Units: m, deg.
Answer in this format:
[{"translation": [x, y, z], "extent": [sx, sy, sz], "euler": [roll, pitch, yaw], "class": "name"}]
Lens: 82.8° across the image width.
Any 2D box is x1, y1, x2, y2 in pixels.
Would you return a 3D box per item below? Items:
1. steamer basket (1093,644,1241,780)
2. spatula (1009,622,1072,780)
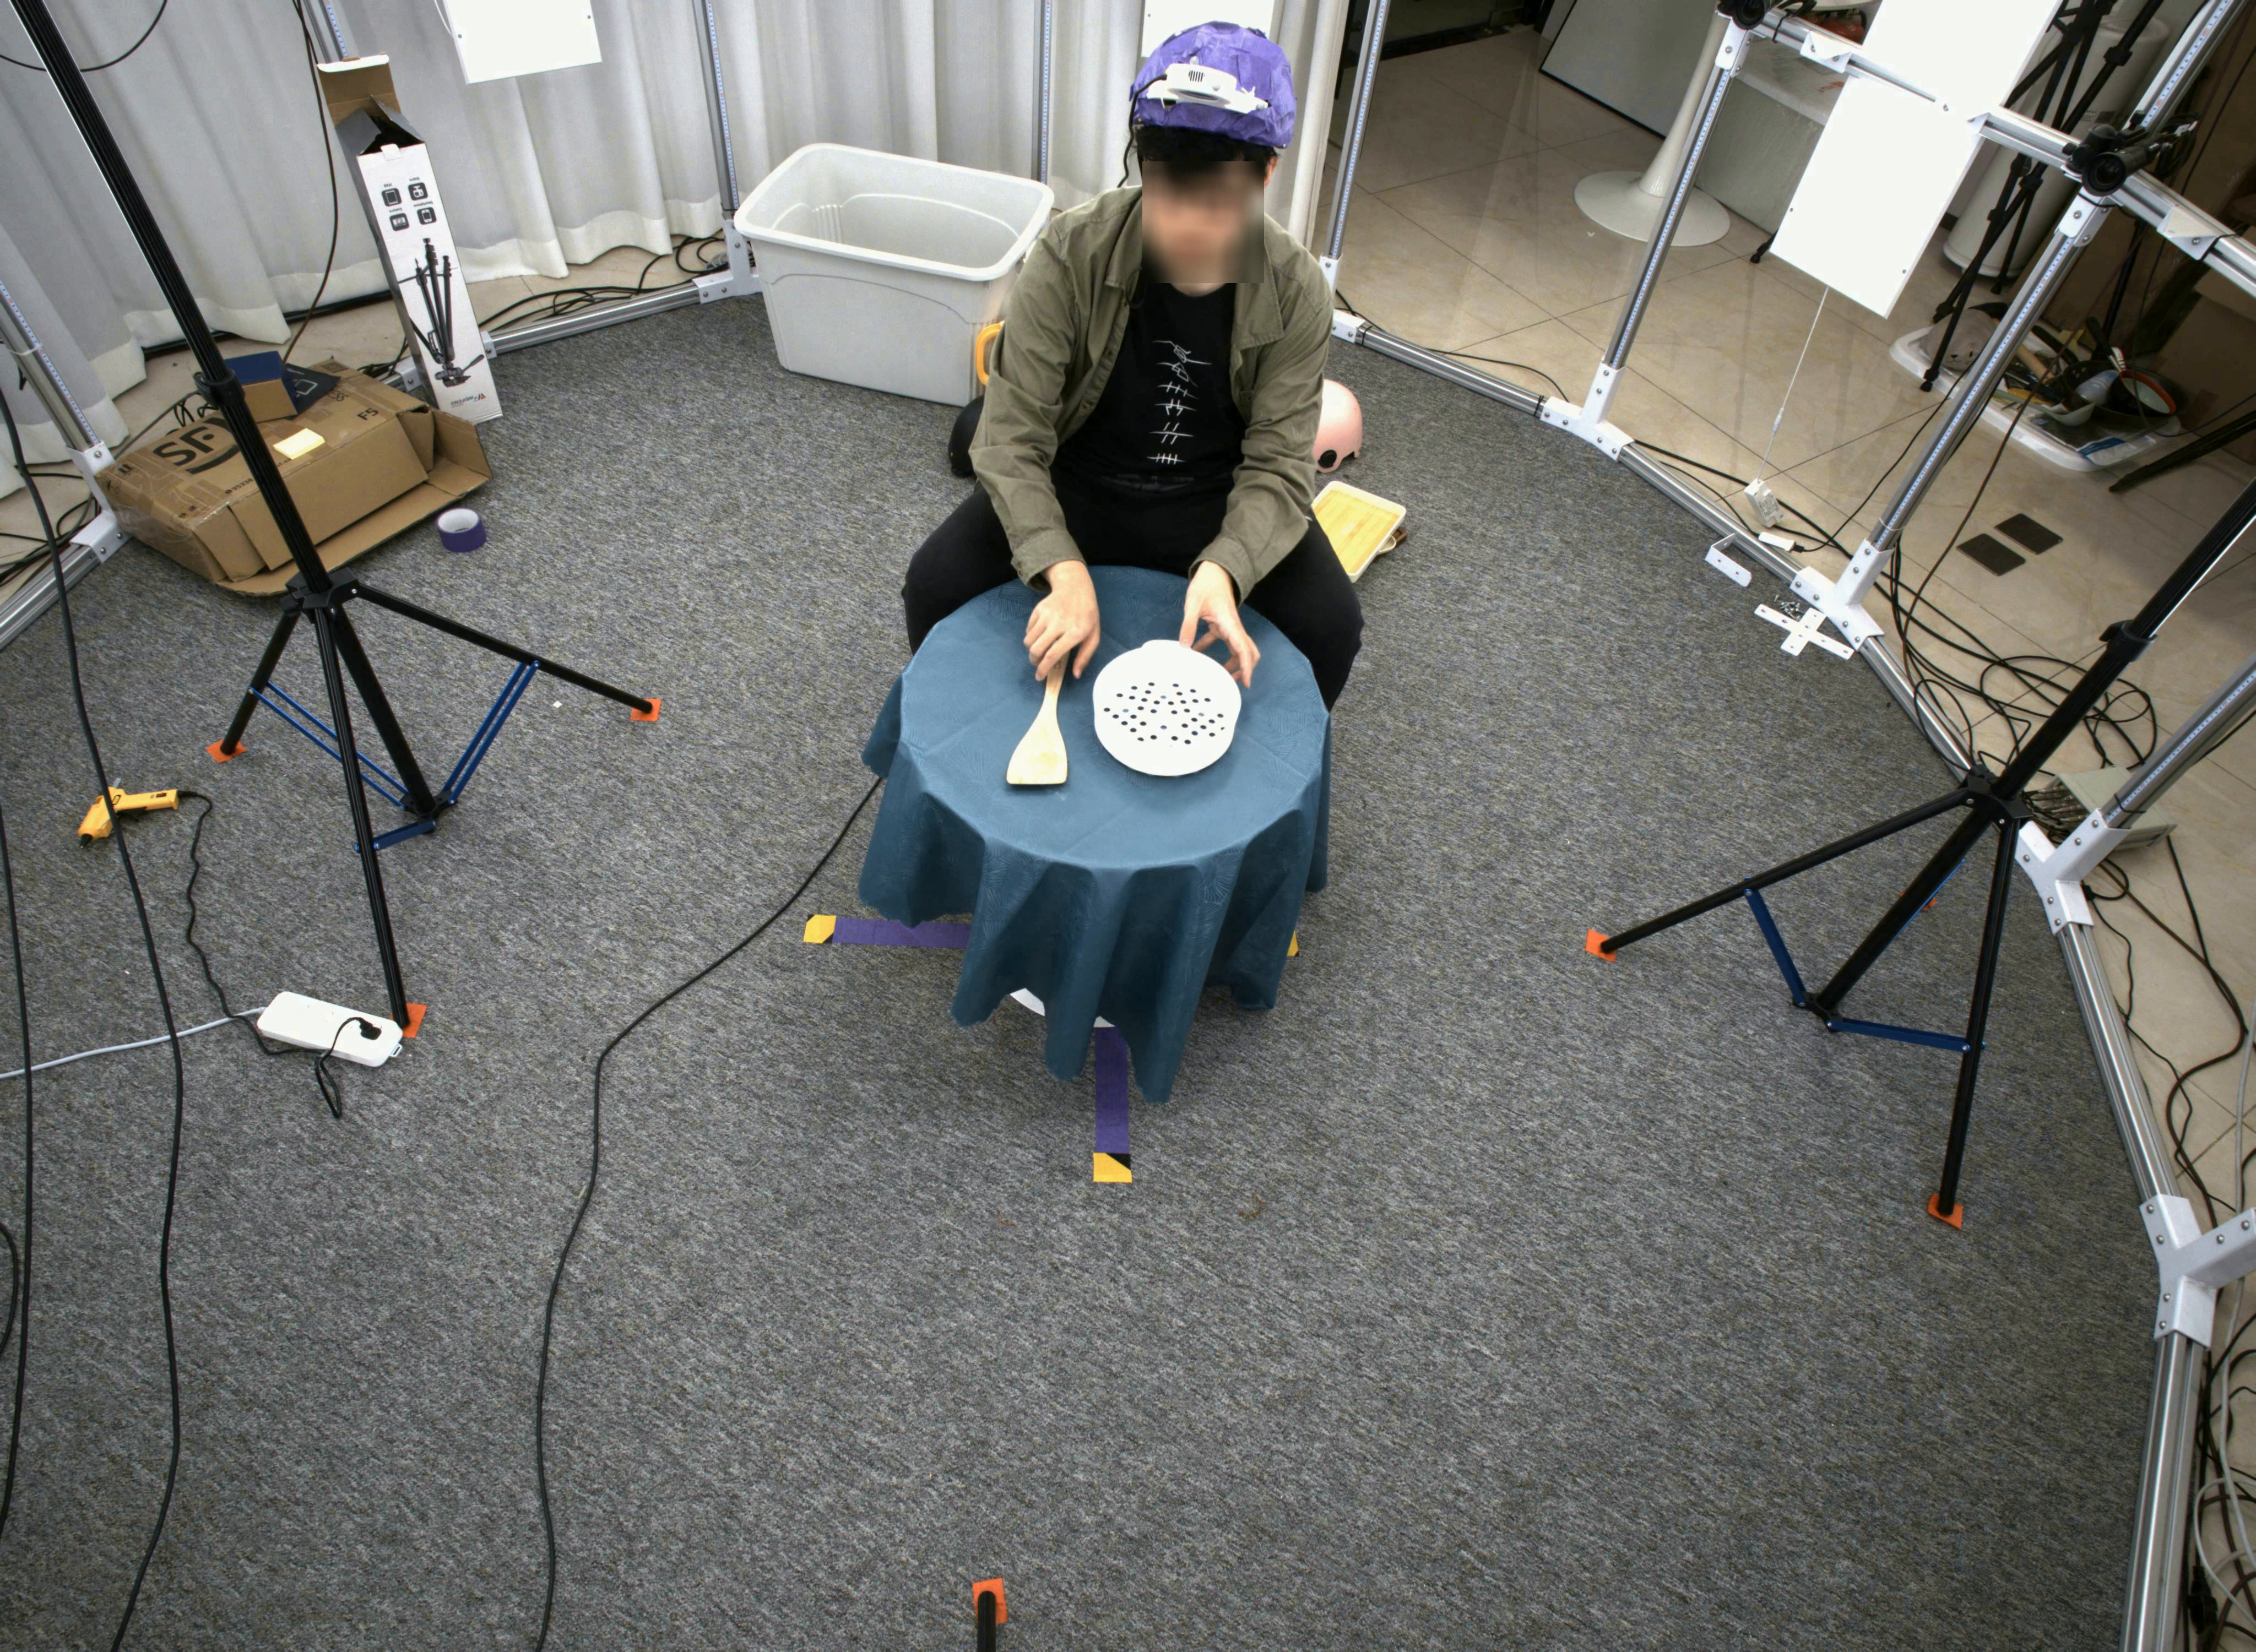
[{"translation": [0.051, -0.152, 1.754], "extent": [0.201, 0.067, 0.236], "euler": [3, 47, -3], "class": "steamer basket"}, {"translation": [-0.106, -0.178, 1.794], "extent": [0.080, 0.016, 0.335], "euler": [6, 49, 0], "class": "spatula"}]
